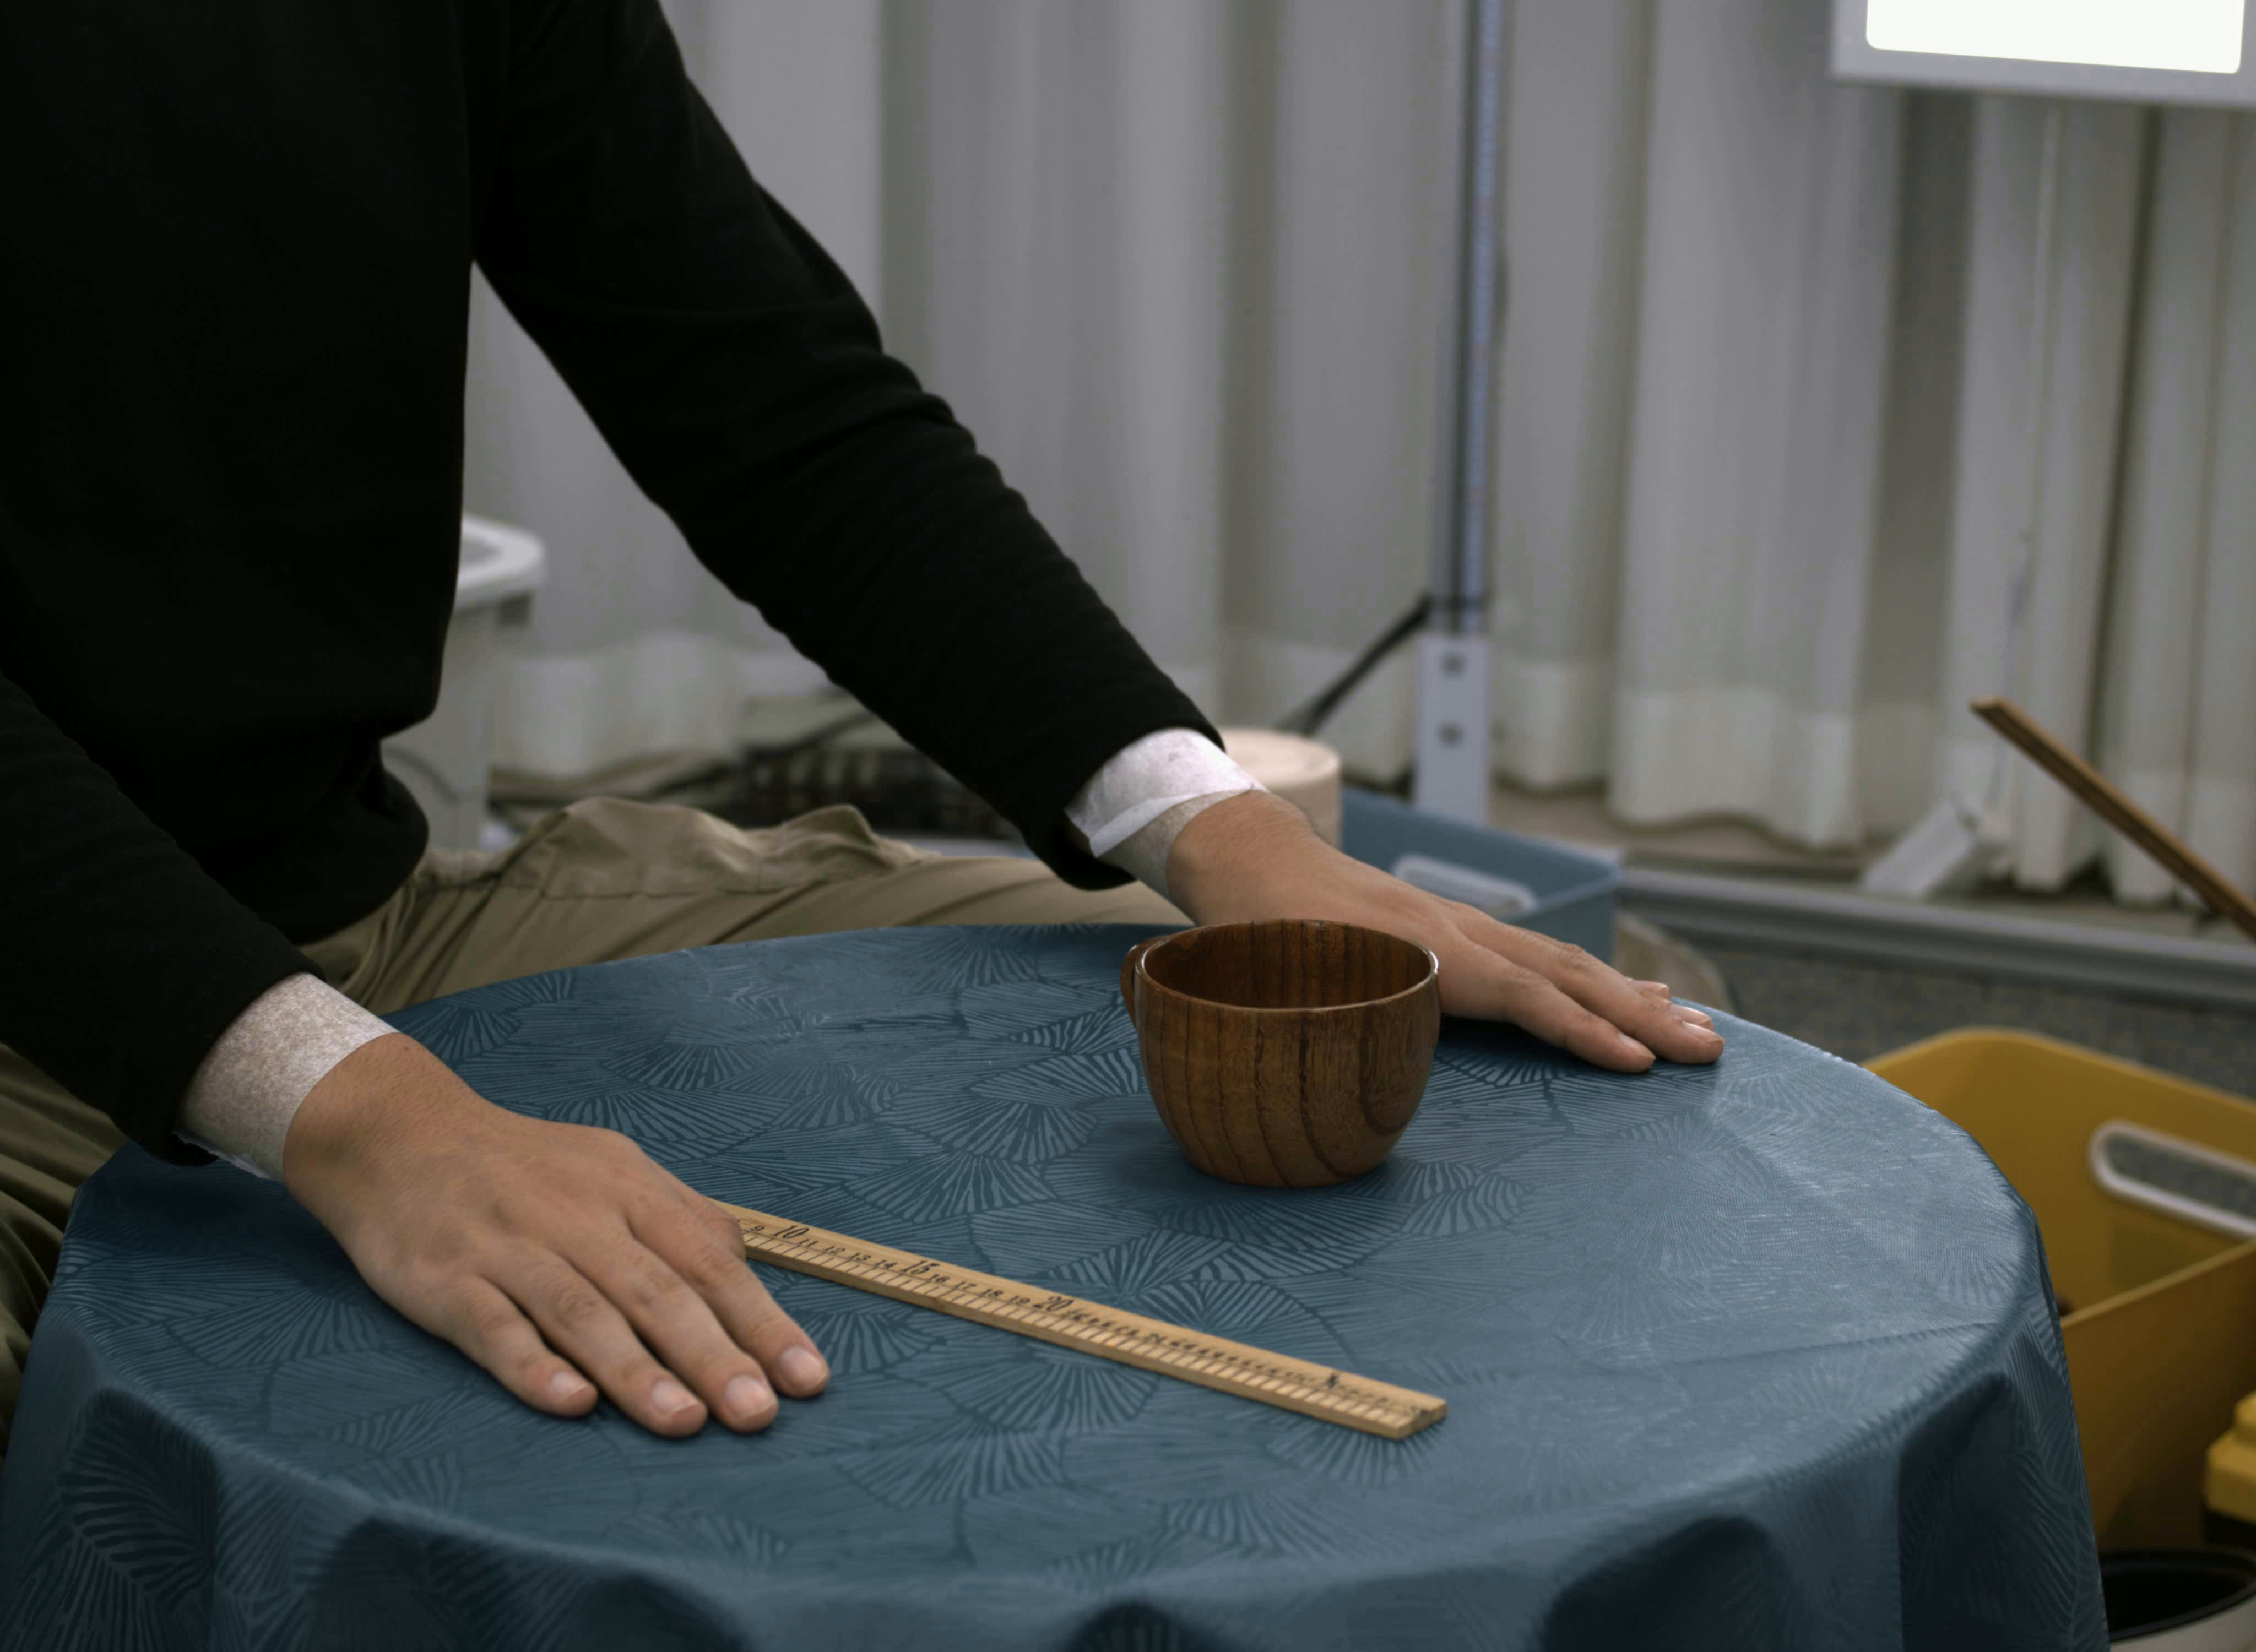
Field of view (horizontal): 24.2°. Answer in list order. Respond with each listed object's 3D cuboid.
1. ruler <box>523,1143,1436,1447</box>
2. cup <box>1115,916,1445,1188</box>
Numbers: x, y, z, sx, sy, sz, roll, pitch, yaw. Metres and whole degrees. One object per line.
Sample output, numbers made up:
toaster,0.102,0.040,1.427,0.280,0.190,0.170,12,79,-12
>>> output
ruler,-0.051,0.131,1.530,0.327,0.022,0.027,13,15,37
cup,0.043,0.070,1.652,0.118,0.068,0.096,14,22,43
